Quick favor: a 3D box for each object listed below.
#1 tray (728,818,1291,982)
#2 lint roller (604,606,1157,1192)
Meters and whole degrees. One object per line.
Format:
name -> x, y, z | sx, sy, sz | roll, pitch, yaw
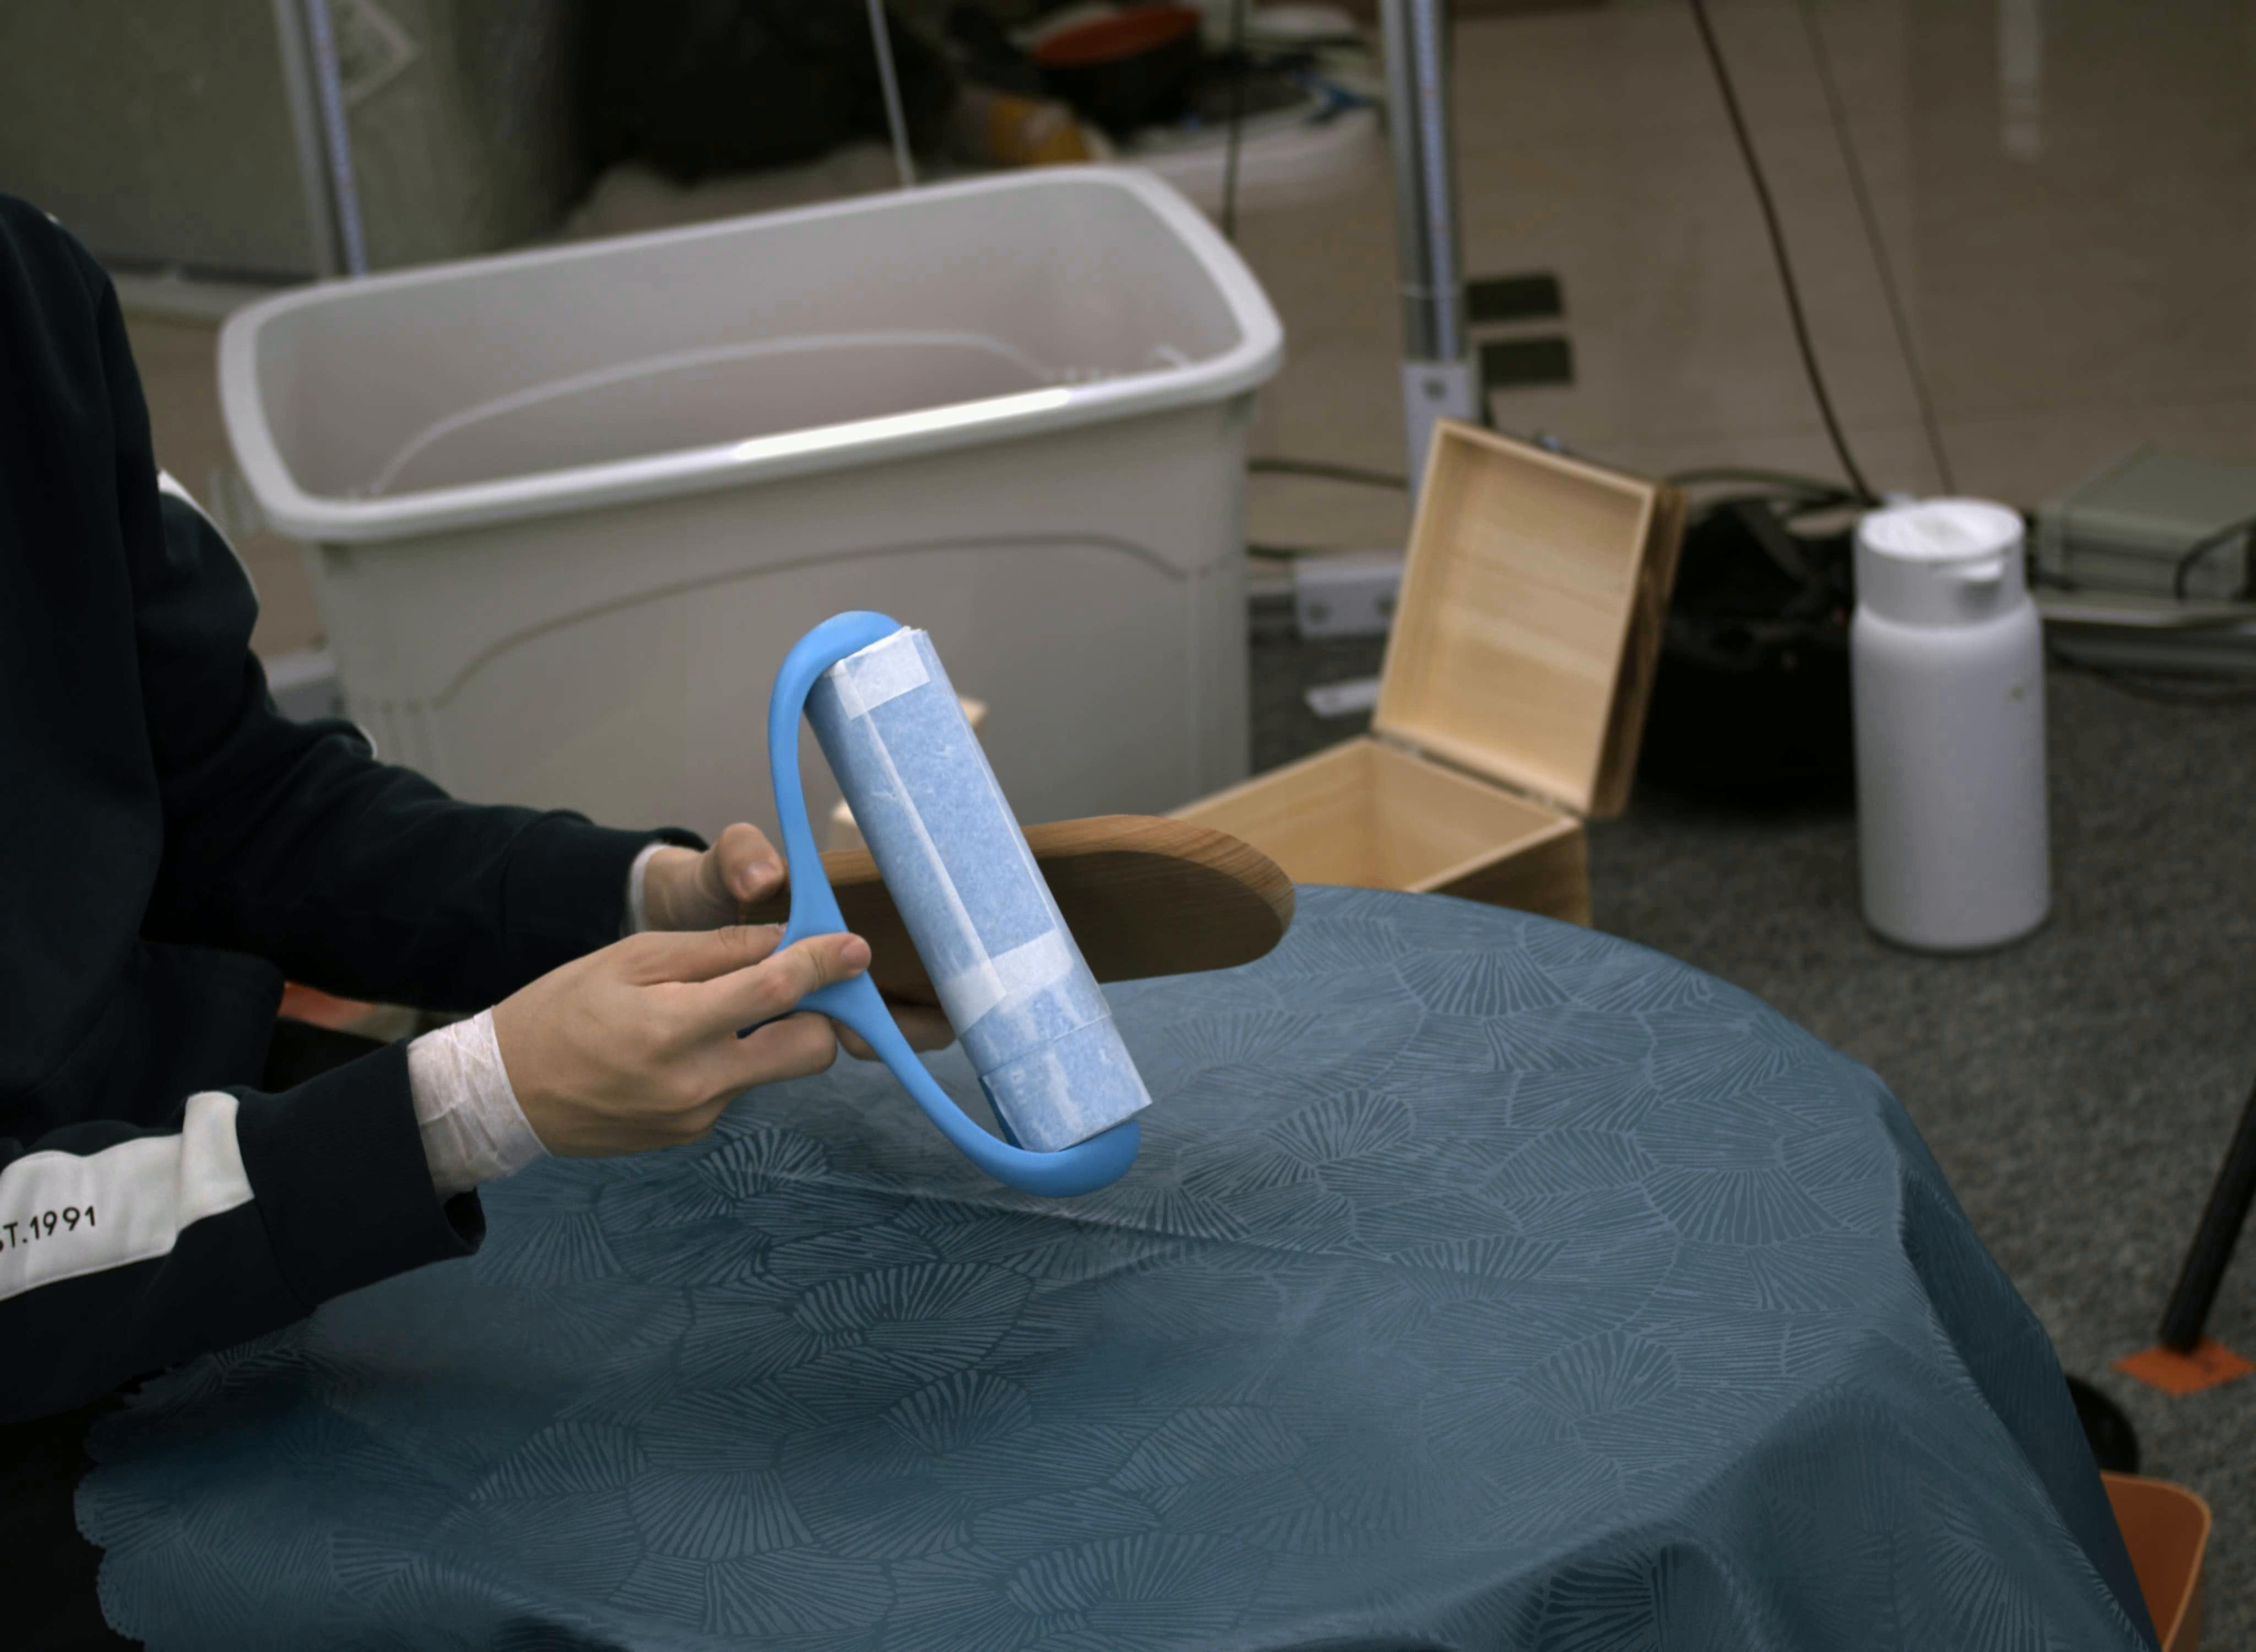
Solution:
tray -> -0.047, 0.033, 2.142 | 0.231, 0.103, 0.020 | -7, 58, 28
lint roller -> -0.108, 0.054, 2.041 | 0.180, 0.229, 0.068 | -29, -1, 0
